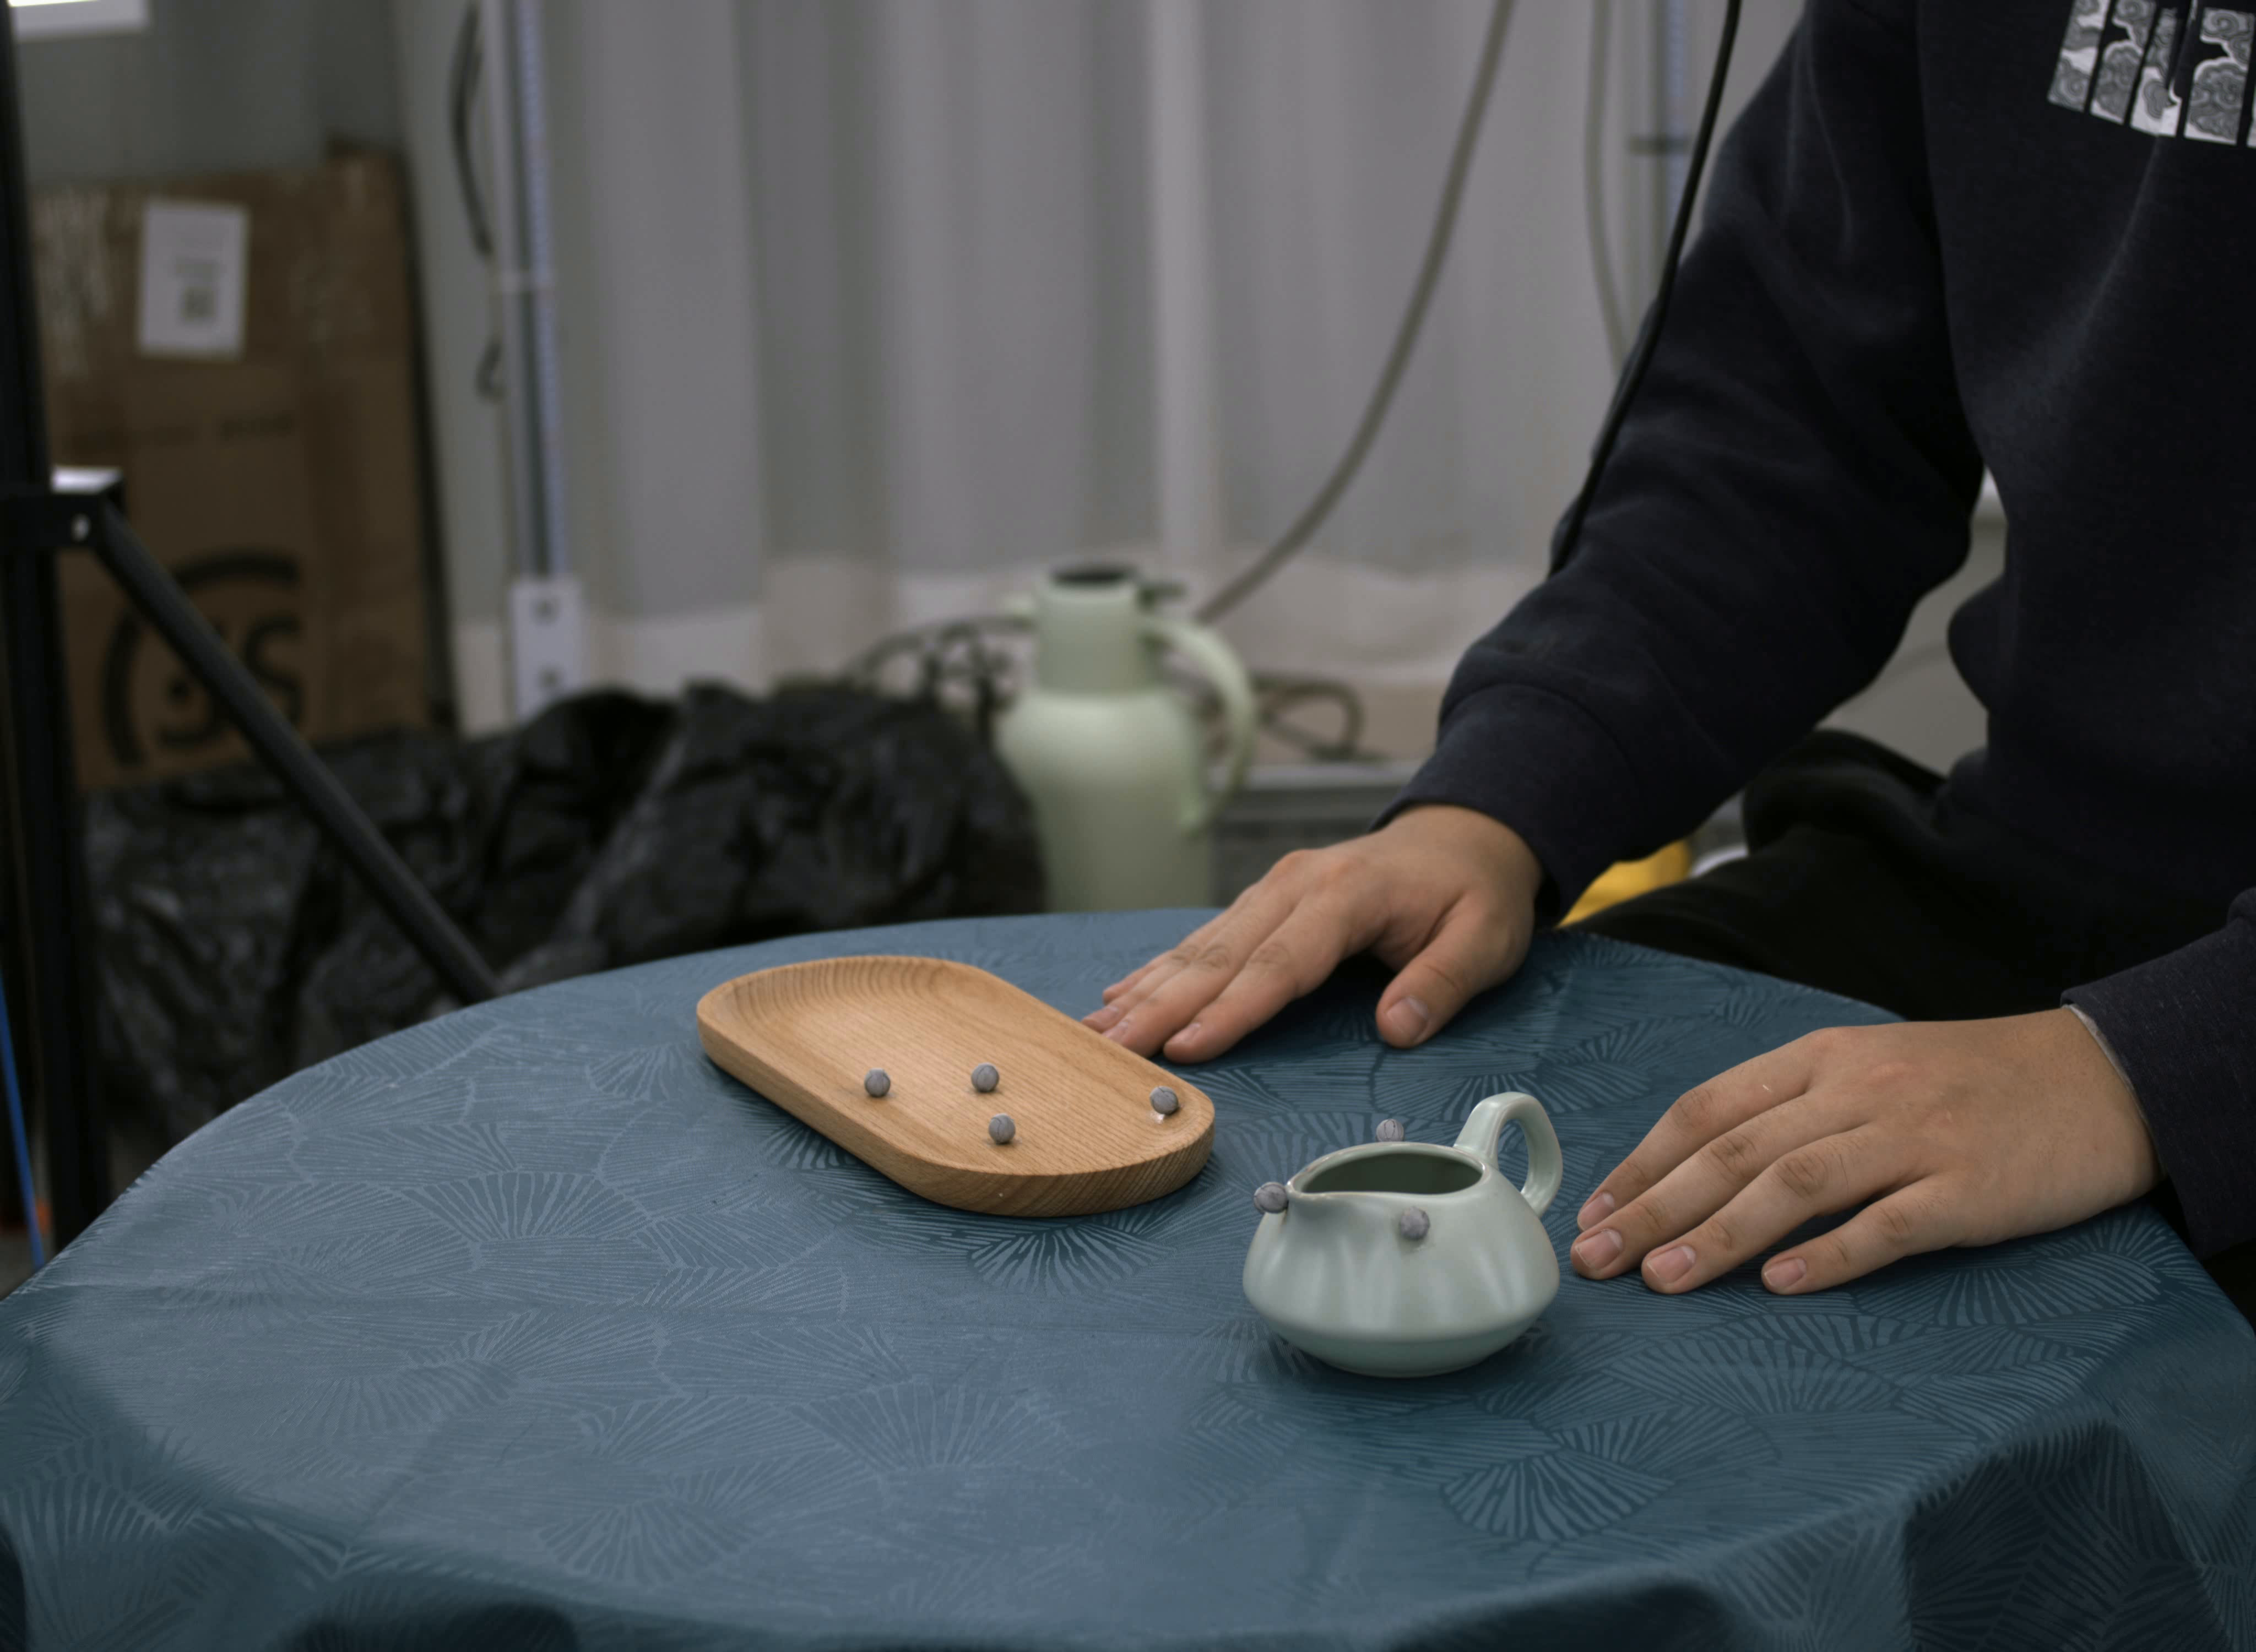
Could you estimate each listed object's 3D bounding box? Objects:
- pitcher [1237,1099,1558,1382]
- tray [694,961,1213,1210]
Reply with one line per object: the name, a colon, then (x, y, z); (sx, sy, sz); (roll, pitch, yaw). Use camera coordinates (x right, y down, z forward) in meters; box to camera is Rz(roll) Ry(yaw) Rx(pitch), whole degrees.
pitcher: (0.080, 0.112, 1.431); (0.088, 0.060, 0.105); (13, 19, 40)
tray: (-0.056, 0.078, 1.642); (0.099, 0.020, 0.236); (-9, 15, -27)
